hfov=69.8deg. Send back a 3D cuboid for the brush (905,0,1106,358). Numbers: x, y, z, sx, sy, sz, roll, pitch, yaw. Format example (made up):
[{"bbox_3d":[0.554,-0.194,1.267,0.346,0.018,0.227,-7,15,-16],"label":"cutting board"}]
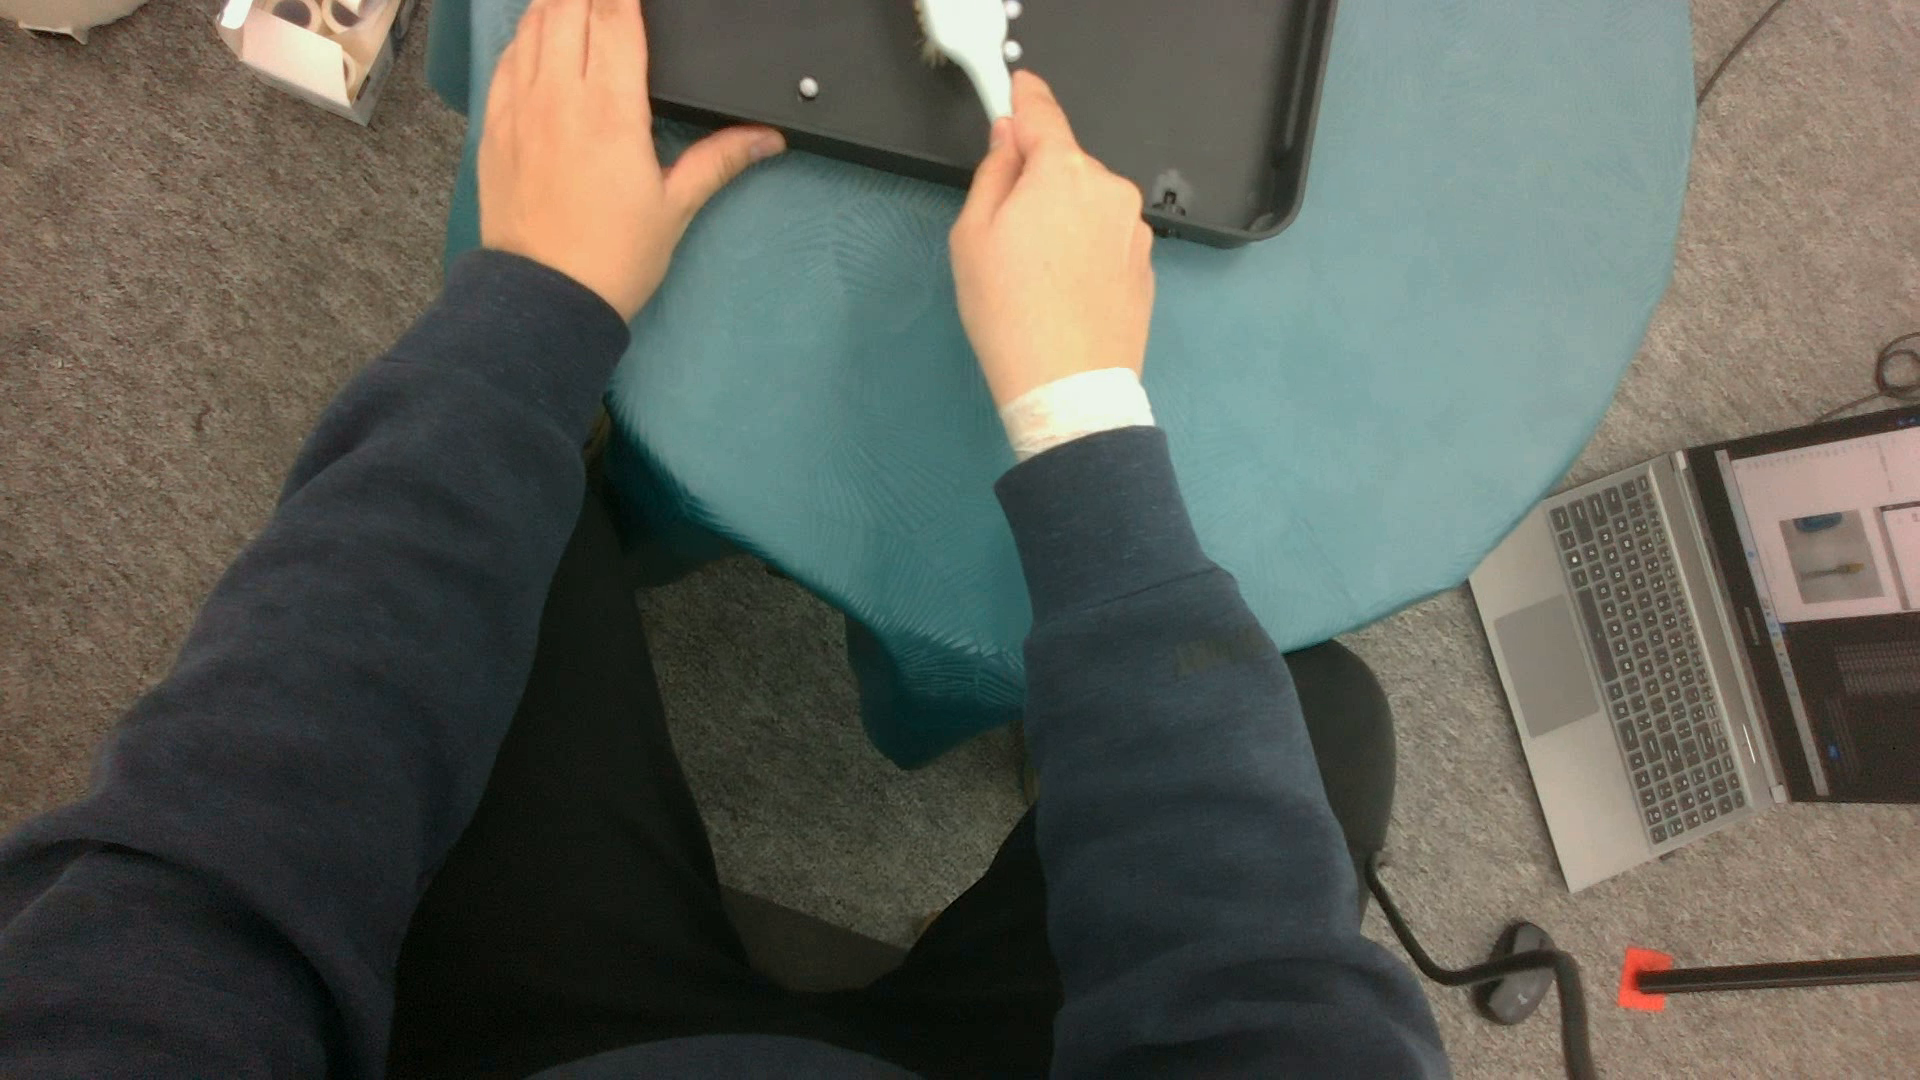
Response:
[{"bbox_3d":[0.016,-0.185,0.615,0.038,0.049,0.229,-18,79,-15],"label":"brush"}]

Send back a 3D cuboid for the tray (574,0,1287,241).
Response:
[{"bbox_3d":[-0.006,-0.246,0.633,0.318,0.037,0.184,5,89,-11],"label":"tray"}]
